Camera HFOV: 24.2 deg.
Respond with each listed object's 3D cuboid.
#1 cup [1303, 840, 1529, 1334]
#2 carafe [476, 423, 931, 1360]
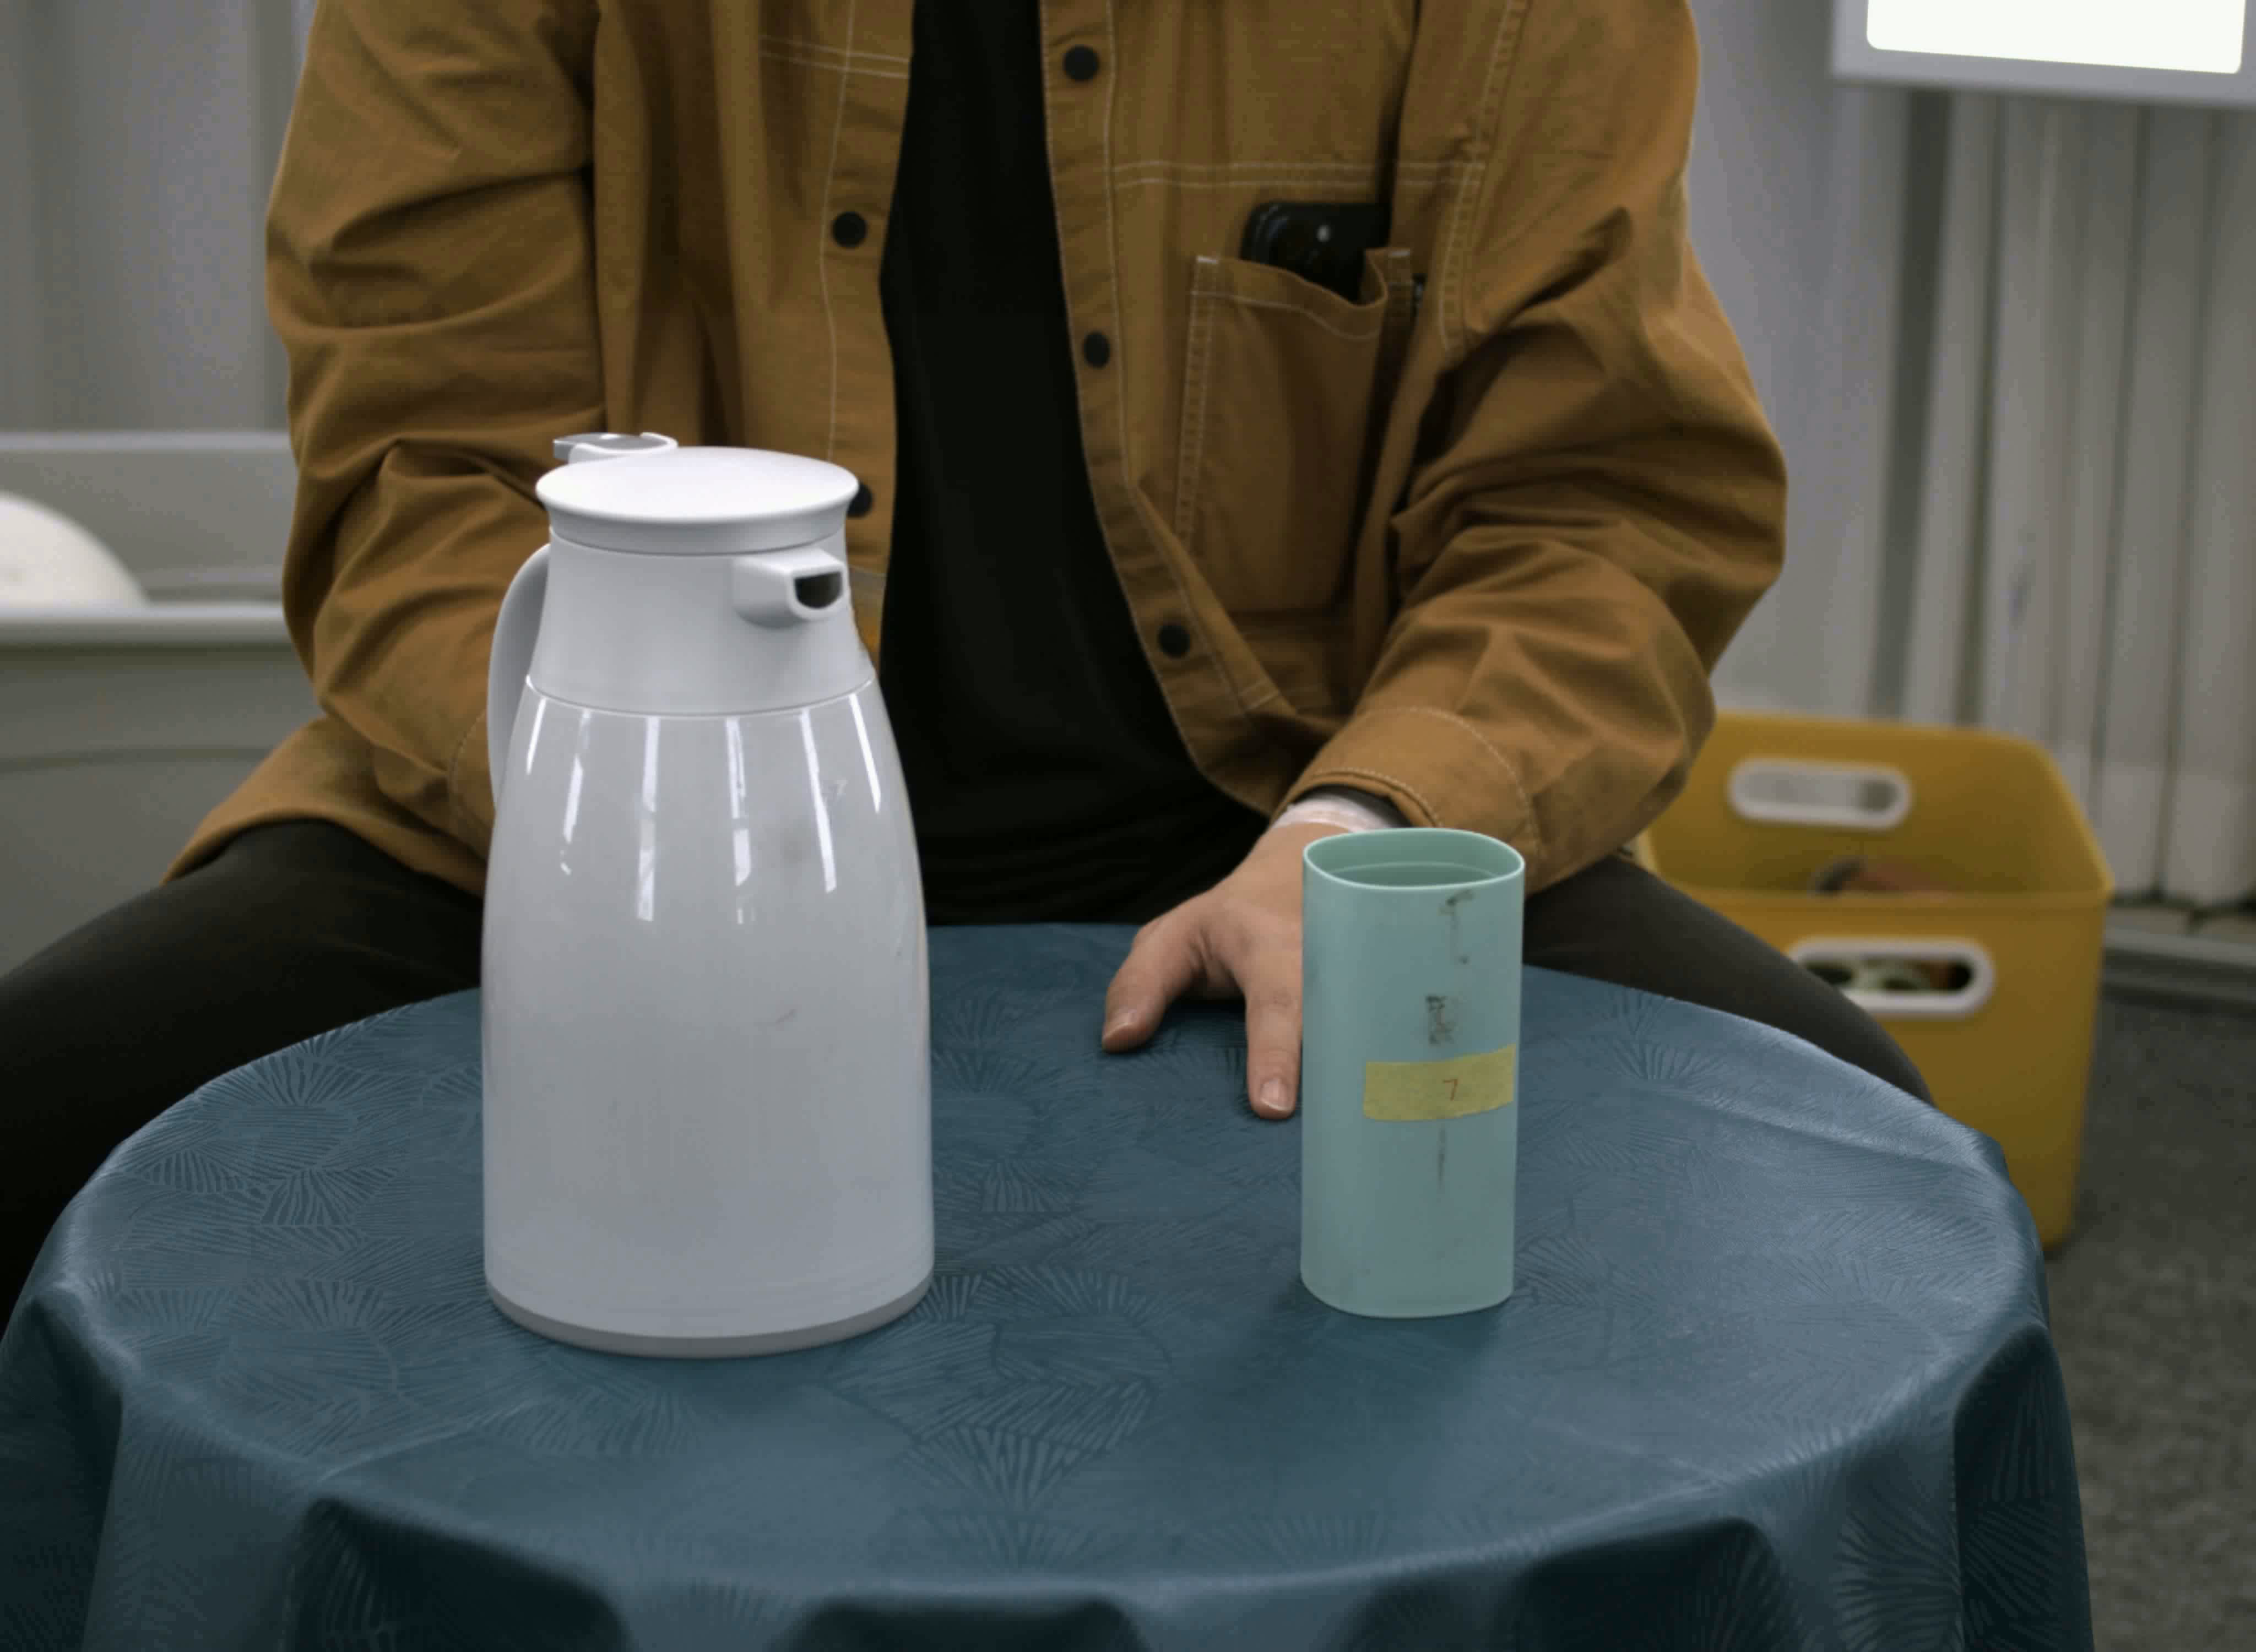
[{"bbox_3d":[0.082,0.074,1.529,0.066,0.133,0.066,1,16,0],"label":"cup"},{"bbox_3d":[-0.135,0.010,1.522,0.133,0.250,0.165,-13,20,-37],"label":"carafe"}]
